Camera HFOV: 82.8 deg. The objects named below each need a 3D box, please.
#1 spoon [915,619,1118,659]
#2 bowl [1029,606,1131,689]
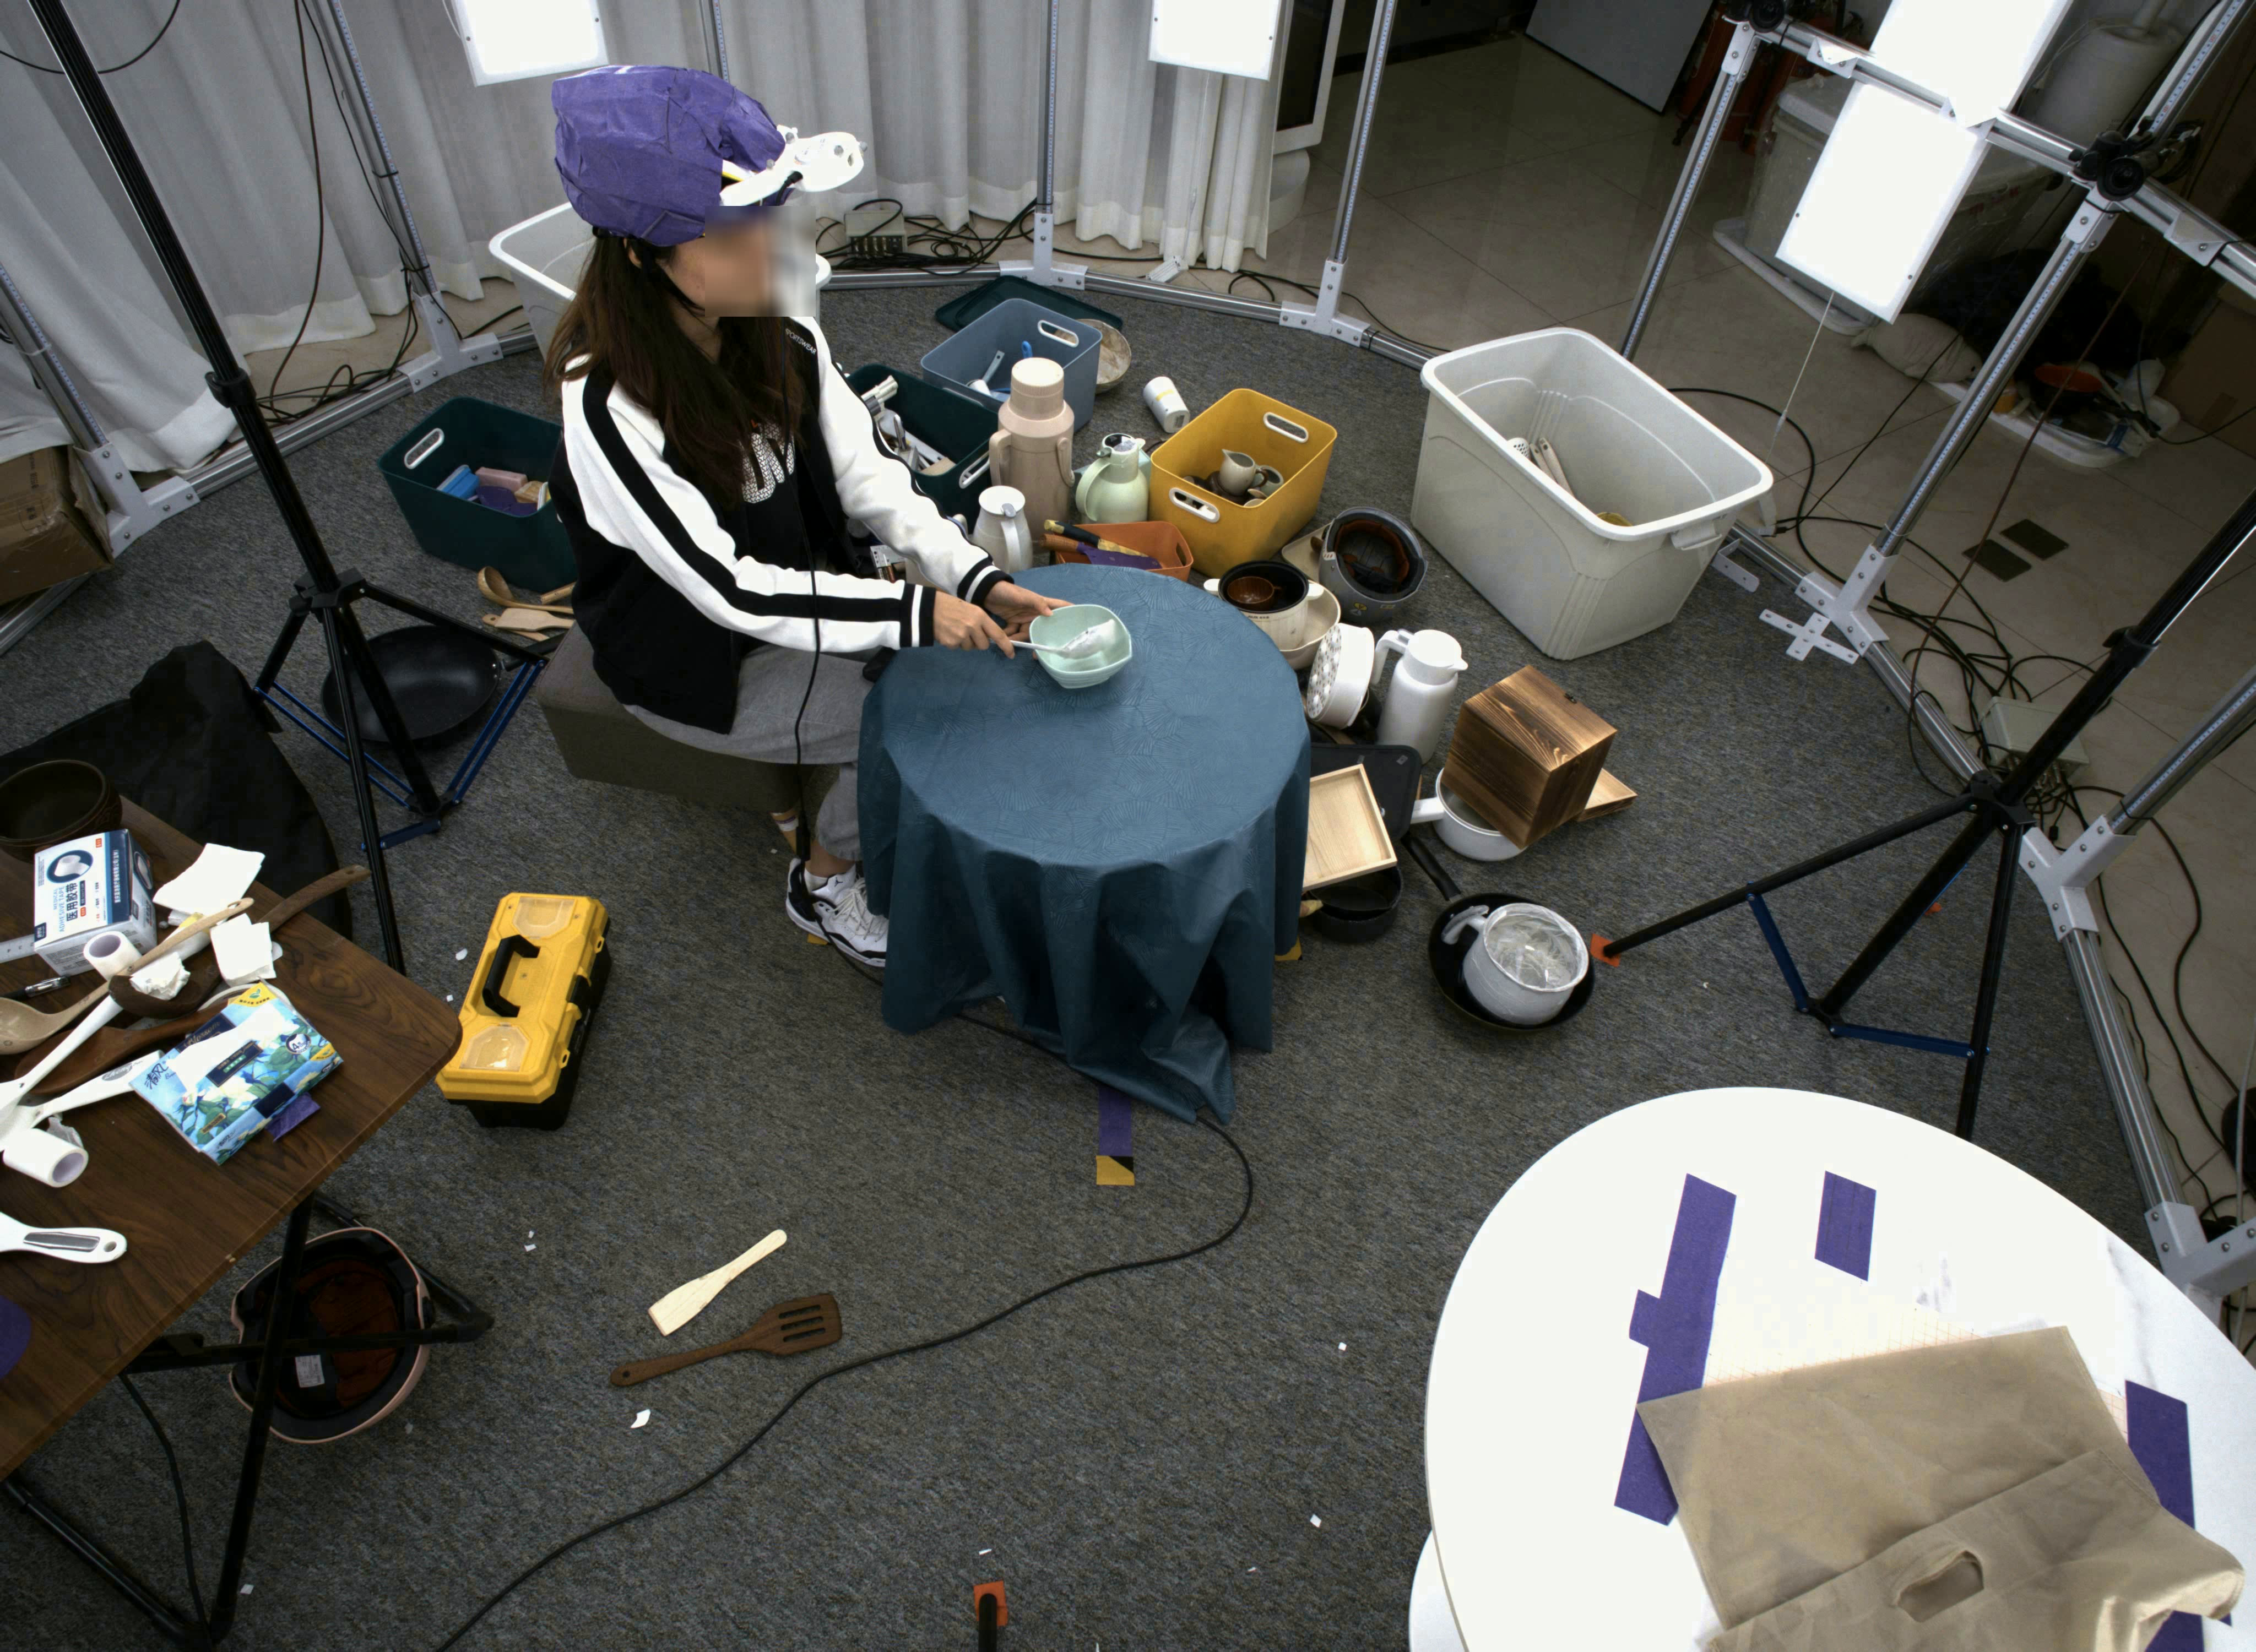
[{"bbox_3d":[-0.153,-0.275,1.793,0.277,0.099,0.060,8,71,-5],"label":"spoon"},{"bbox_3d":[-0.070,-0.248,1.846,0.151,0.057,0.155,2,49,-3],"label":"bowl"}]
